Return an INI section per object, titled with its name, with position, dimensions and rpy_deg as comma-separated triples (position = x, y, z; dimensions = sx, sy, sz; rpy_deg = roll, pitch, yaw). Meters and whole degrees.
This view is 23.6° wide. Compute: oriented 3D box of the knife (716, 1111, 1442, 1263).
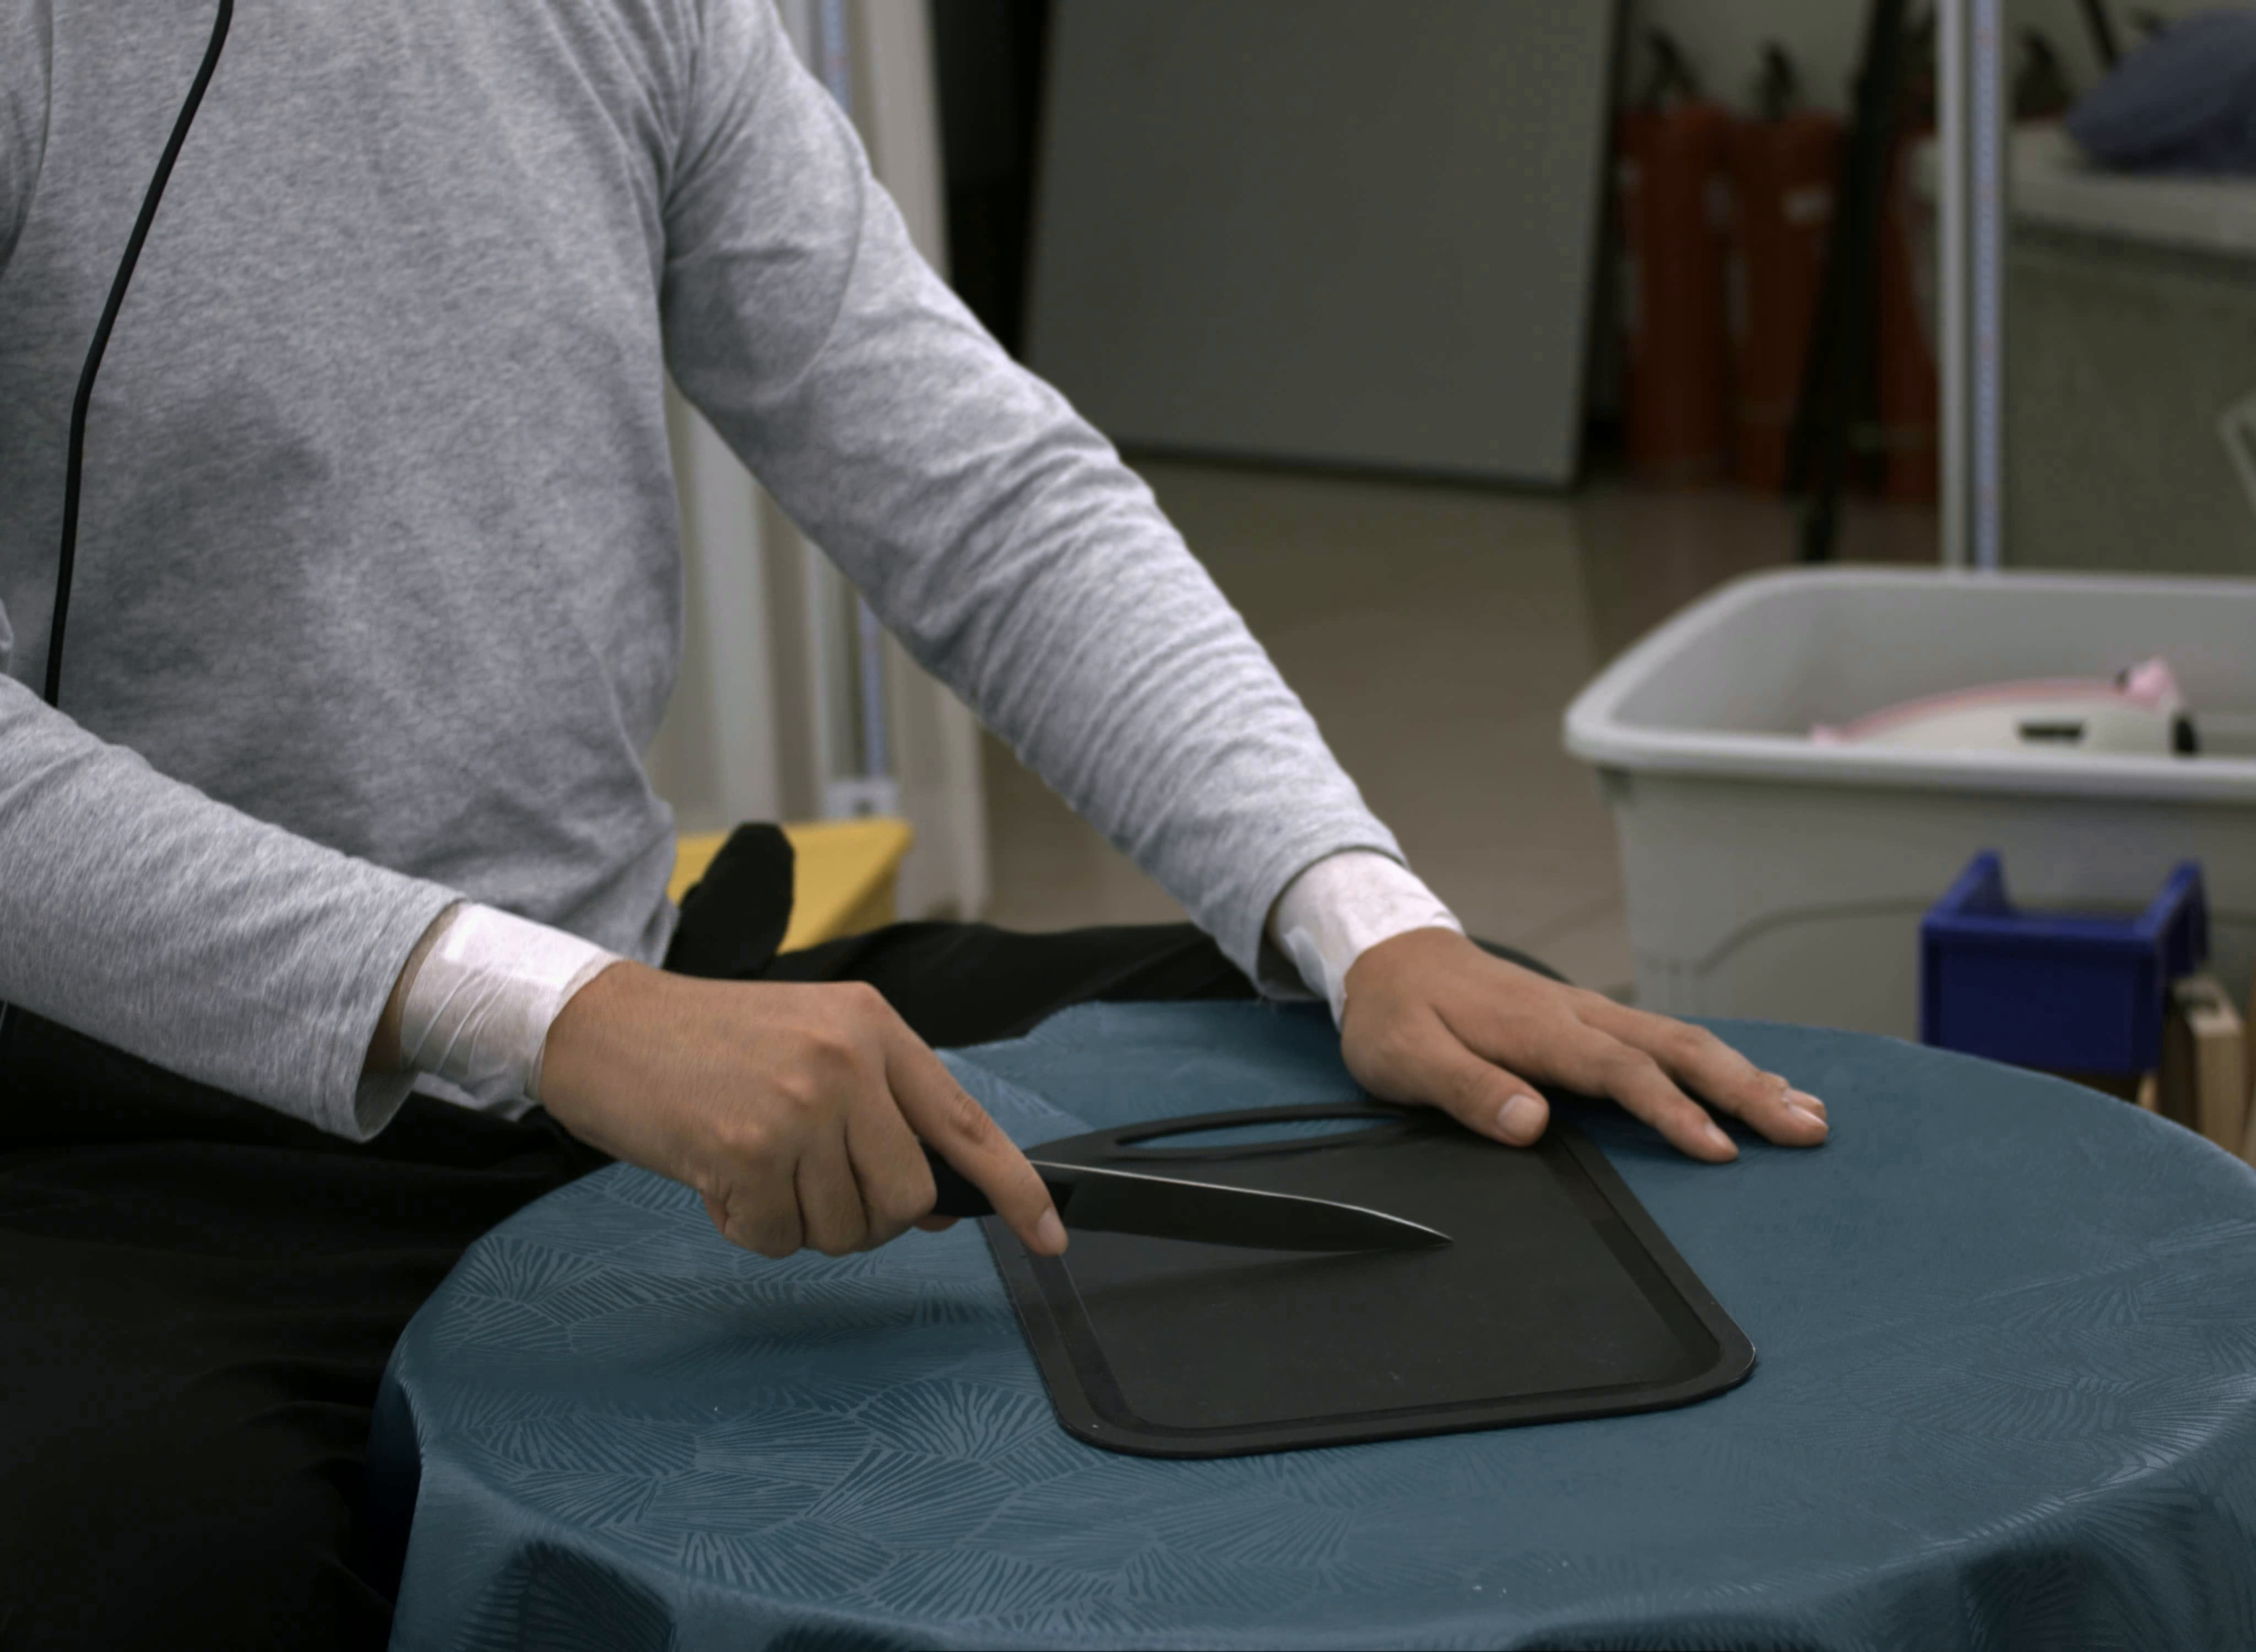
[knife]
position = -0.011, 0.114, 1.673
dimensions = 0.234, 0.025, 0.016
rpy_deg = 10, 22, -9

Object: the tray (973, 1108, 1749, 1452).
[tray]
position = 0.064, 0.135, 1.688
dimensions = 0.208, 0.010, 0.327
rpy_deg = -6, 13, -6
